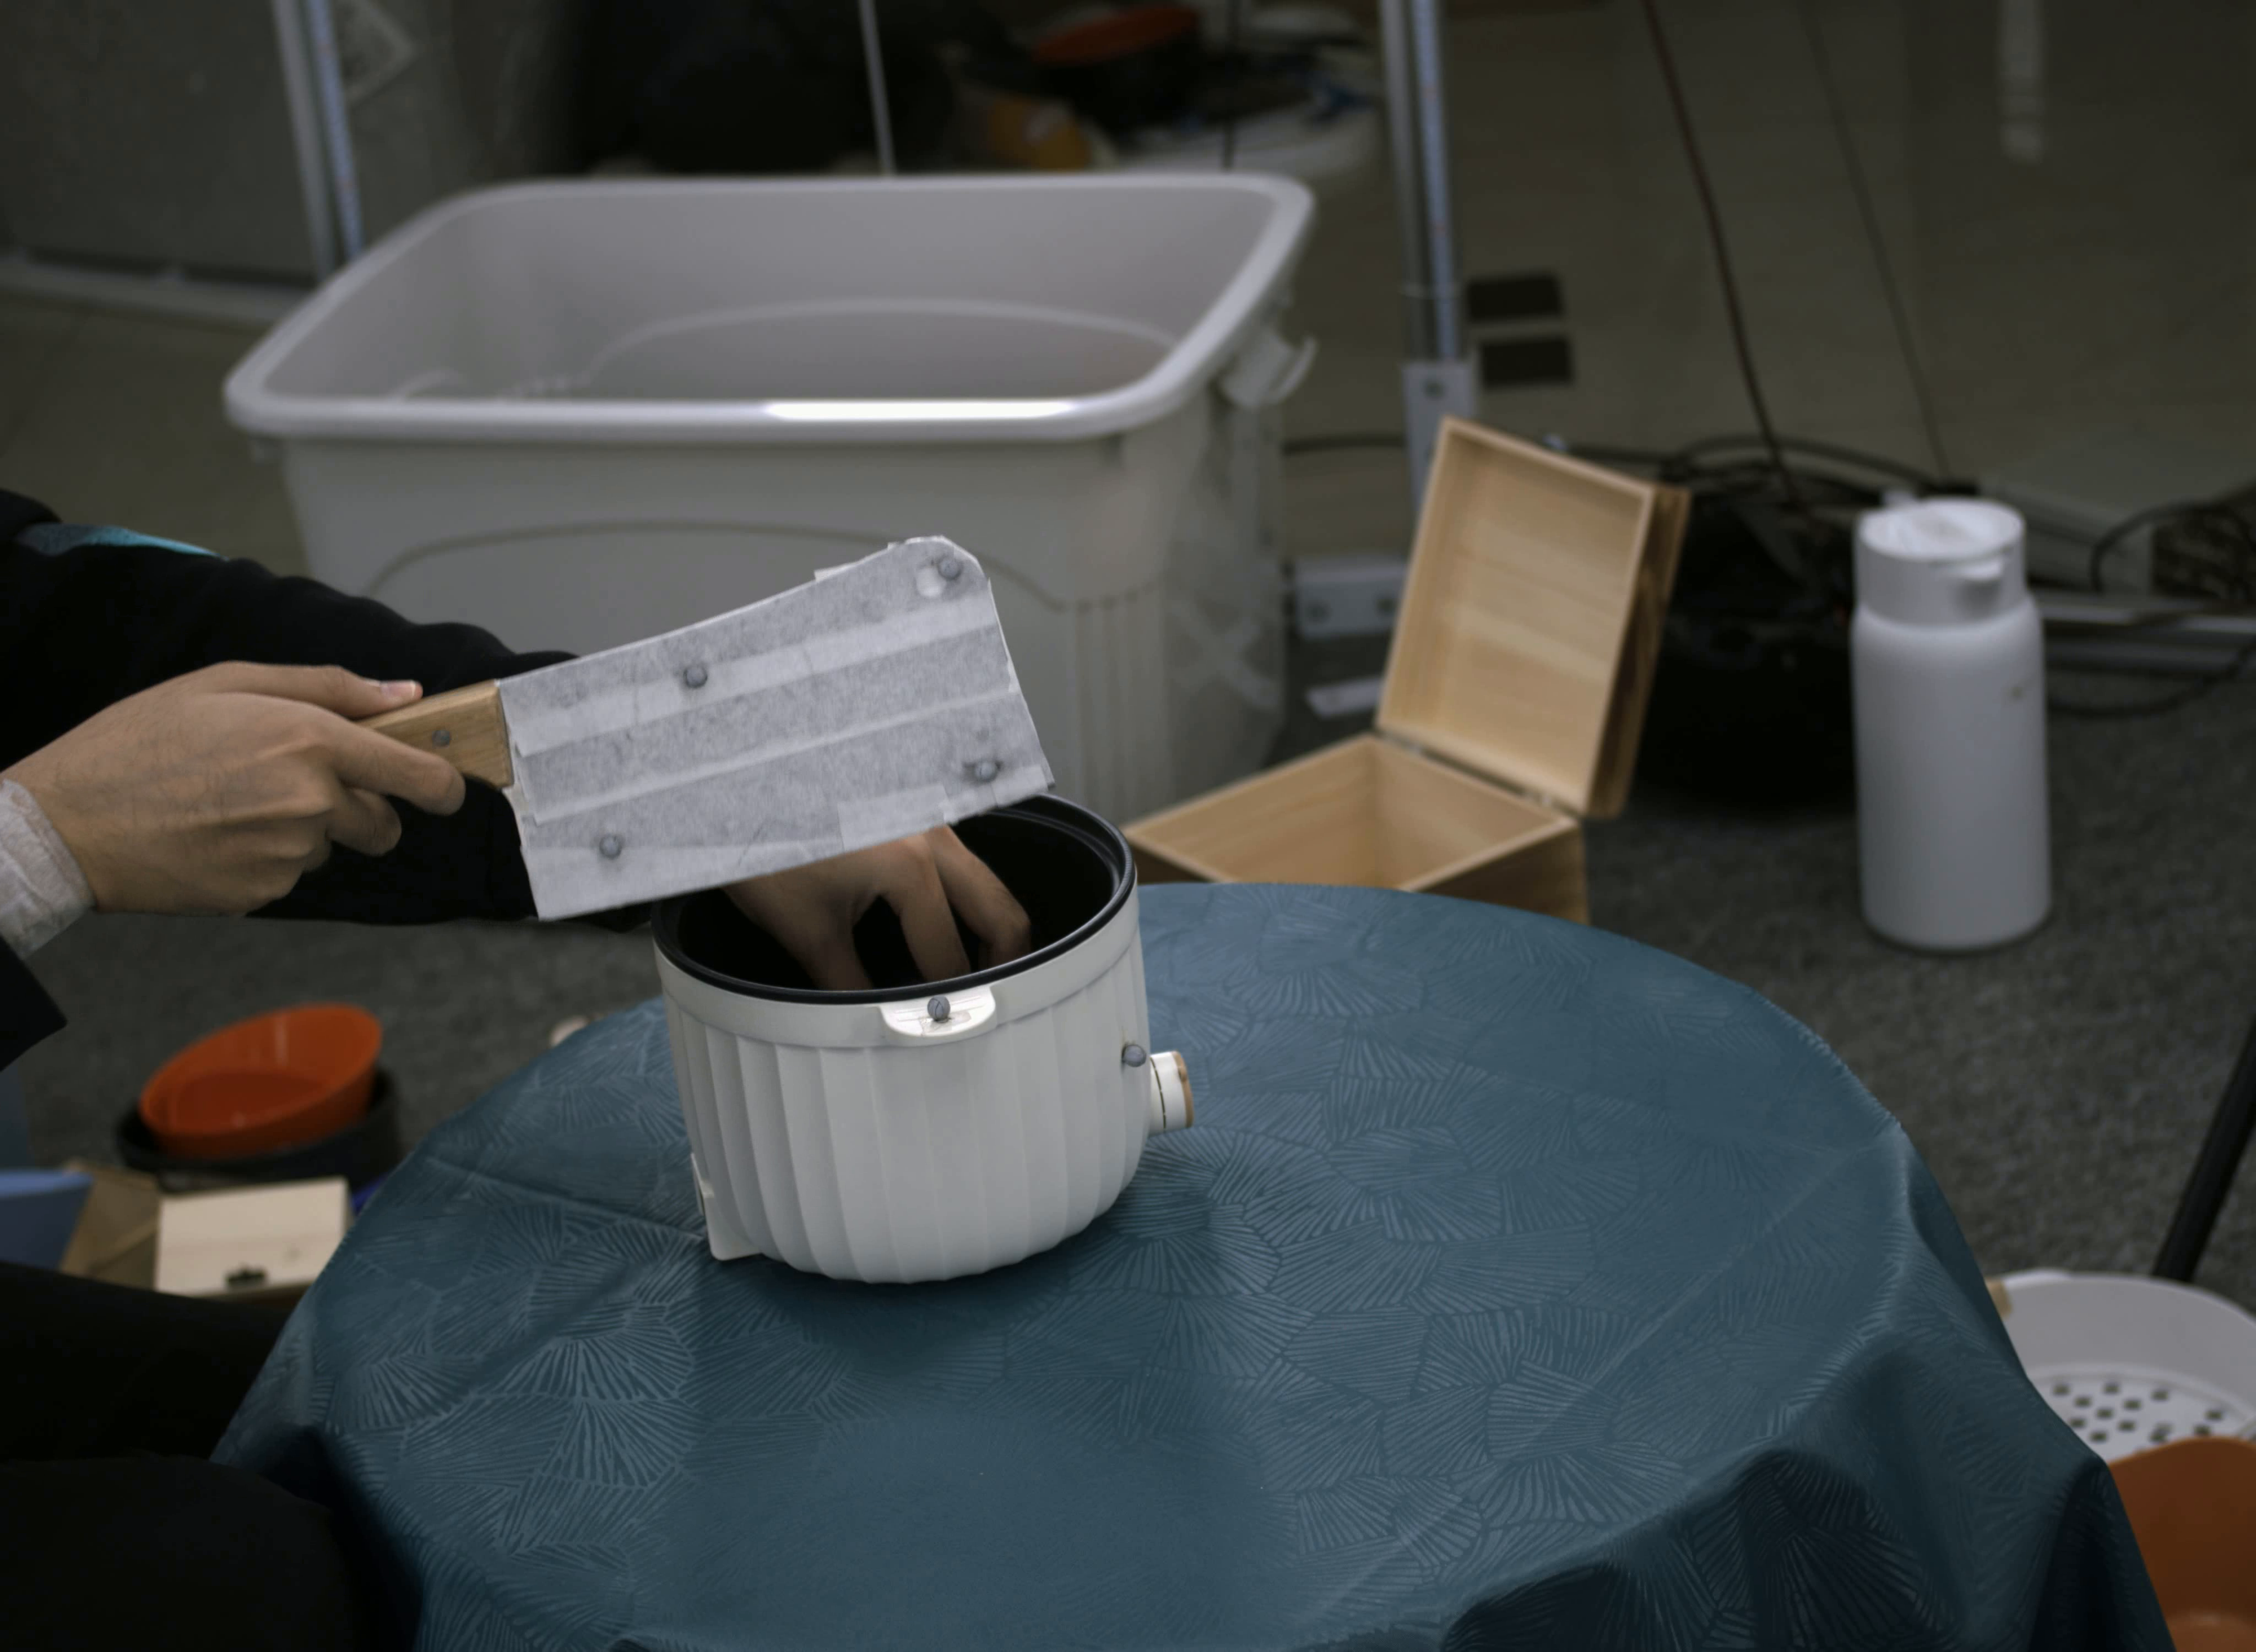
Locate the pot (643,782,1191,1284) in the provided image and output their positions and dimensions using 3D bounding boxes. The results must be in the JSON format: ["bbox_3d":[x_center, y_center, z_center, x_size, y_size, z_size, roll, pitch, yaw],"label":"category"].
[{"bbox_3d":[-0.077,0.080,2.125,0.190,0.145,0.237,-13,27,-7],"label":"pot"}]

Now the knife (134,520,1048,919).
[{"bbox_3d":[-0.187,-0.027,1.962,0.314,0.115,0.021,-12,14,-7],"label":"knife"}]
